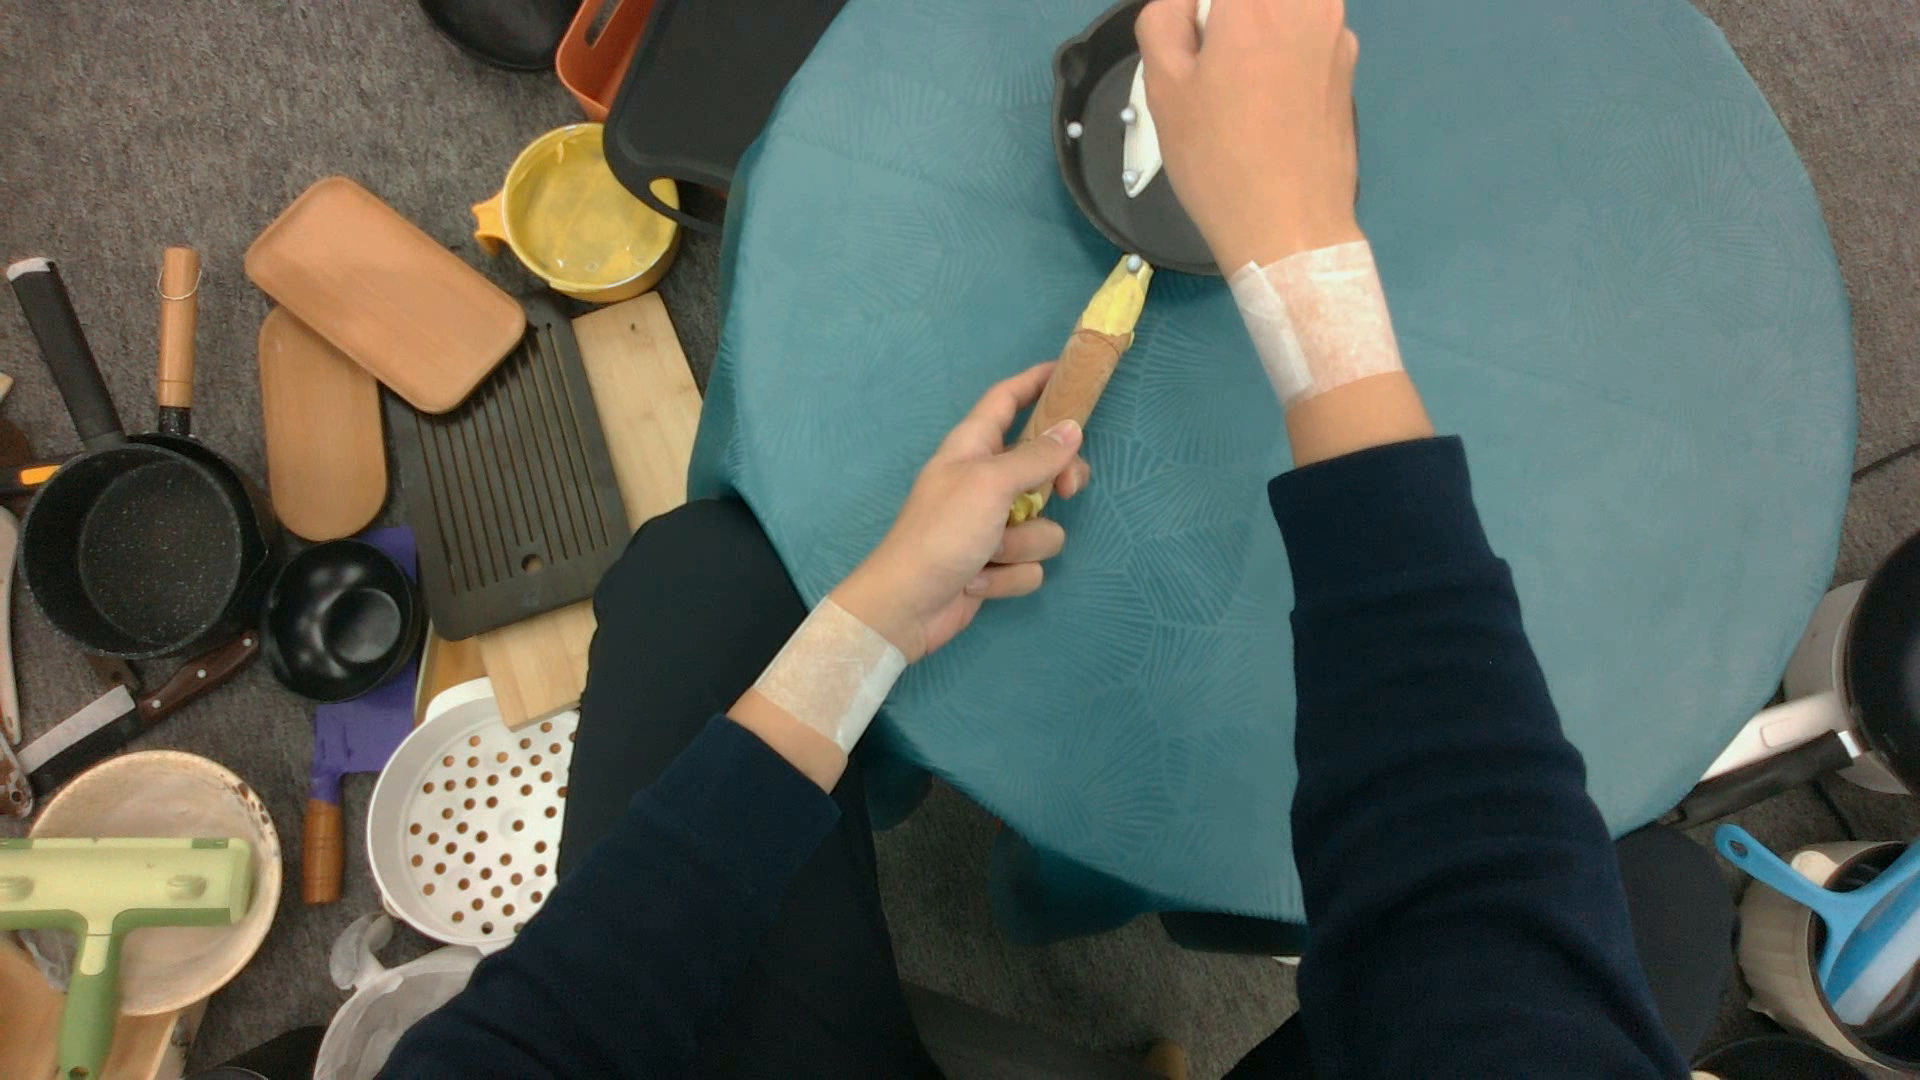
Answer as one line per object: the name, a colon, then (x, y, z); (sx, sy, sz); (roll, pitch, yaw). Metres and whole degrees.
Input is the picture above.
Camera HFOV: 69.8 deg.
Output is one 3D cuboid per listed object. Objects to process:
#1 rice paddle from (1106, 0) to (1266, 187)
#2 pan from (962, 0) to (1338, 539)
rice paddle: (0.089, -0.211, 0.623); (0.029, 0.205, 0.069); (4, 90, -8)
pan: (0.076, -0.143, 0.692); (0.169, 0.049, 0.325); (28, 78, 0)
